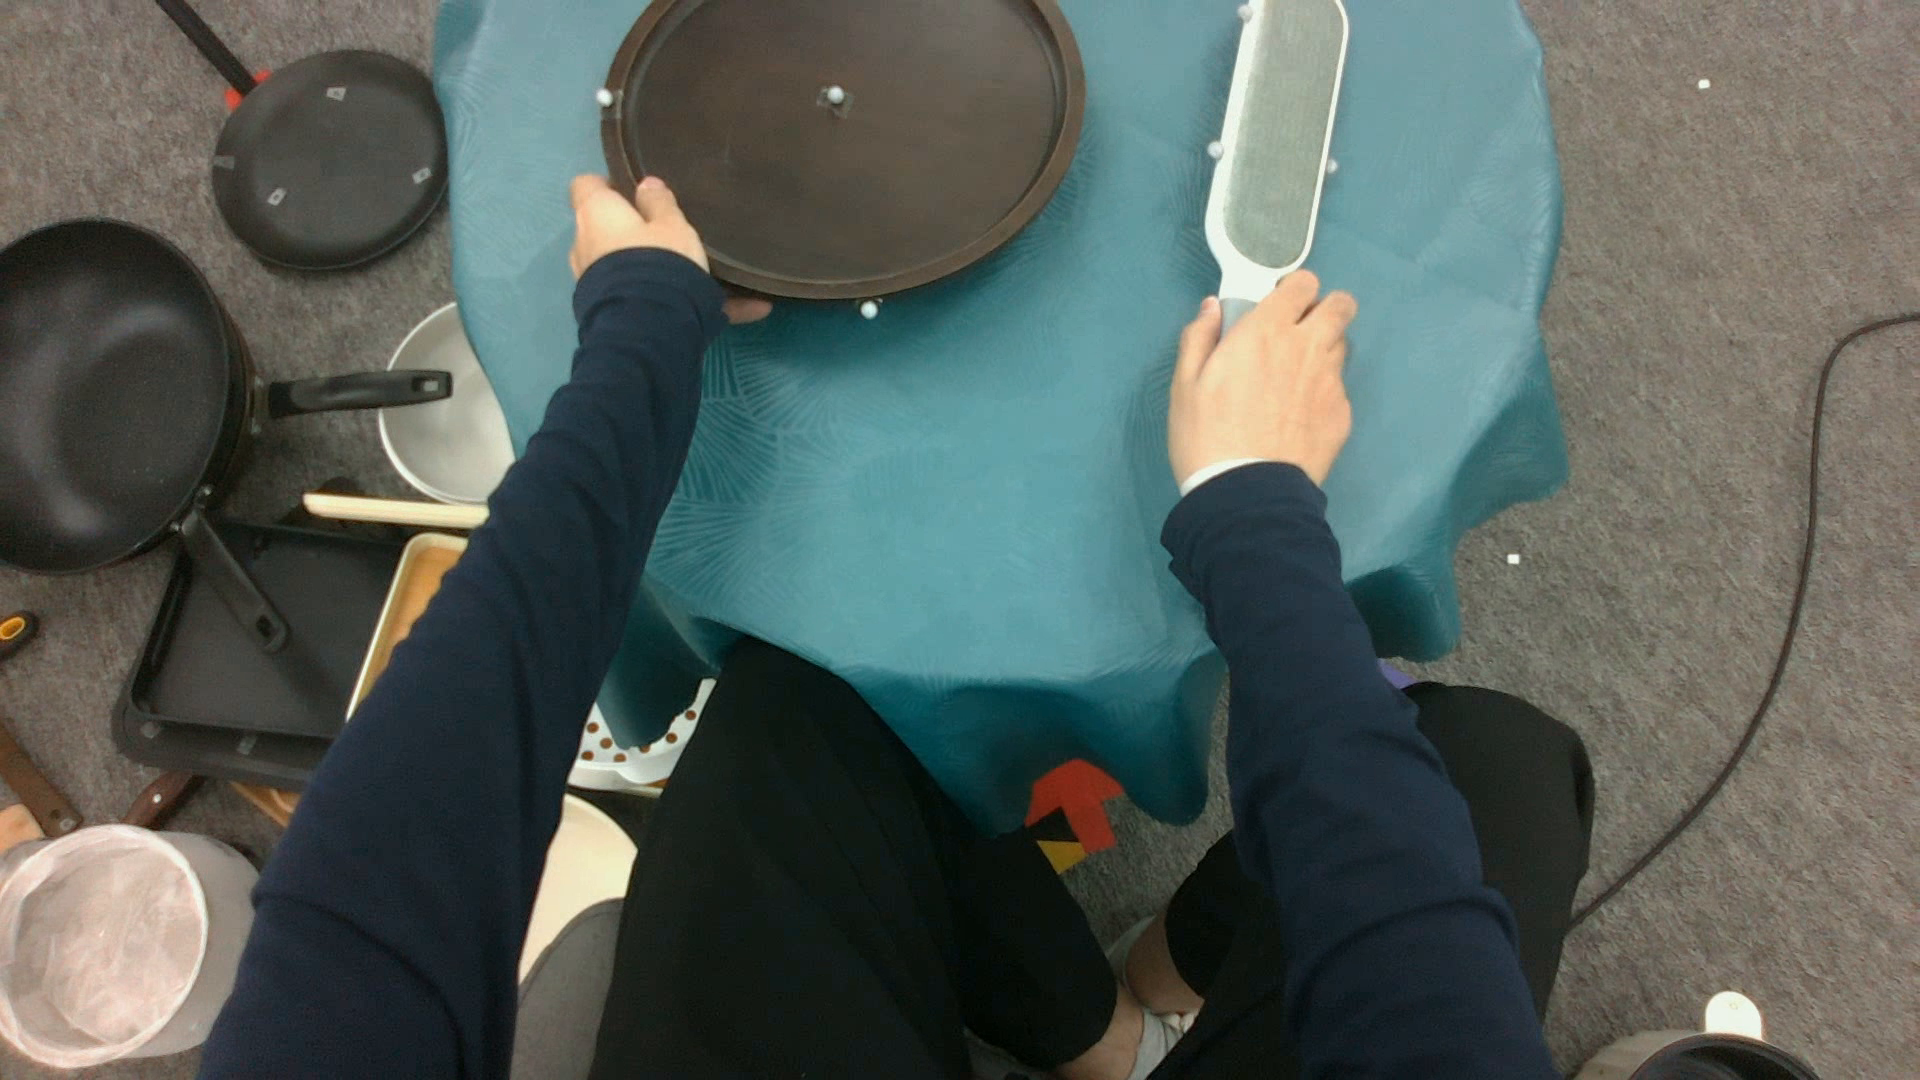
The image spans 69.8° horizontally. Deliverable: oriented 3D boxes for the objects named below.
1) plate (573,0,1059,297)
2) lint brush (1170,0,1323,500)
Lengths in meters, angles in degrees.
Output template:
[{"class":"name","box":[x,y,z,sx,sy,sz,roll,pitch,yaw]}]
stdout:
[{"class":"plate","box":[-0.074,-0.232,0.725,0.255,0.029,0.255,-1,64,2]},{"class":"lint brush","box":[0.143,-0.165,0.703,0.060,0.021,0.310,21,71,-26]}]
